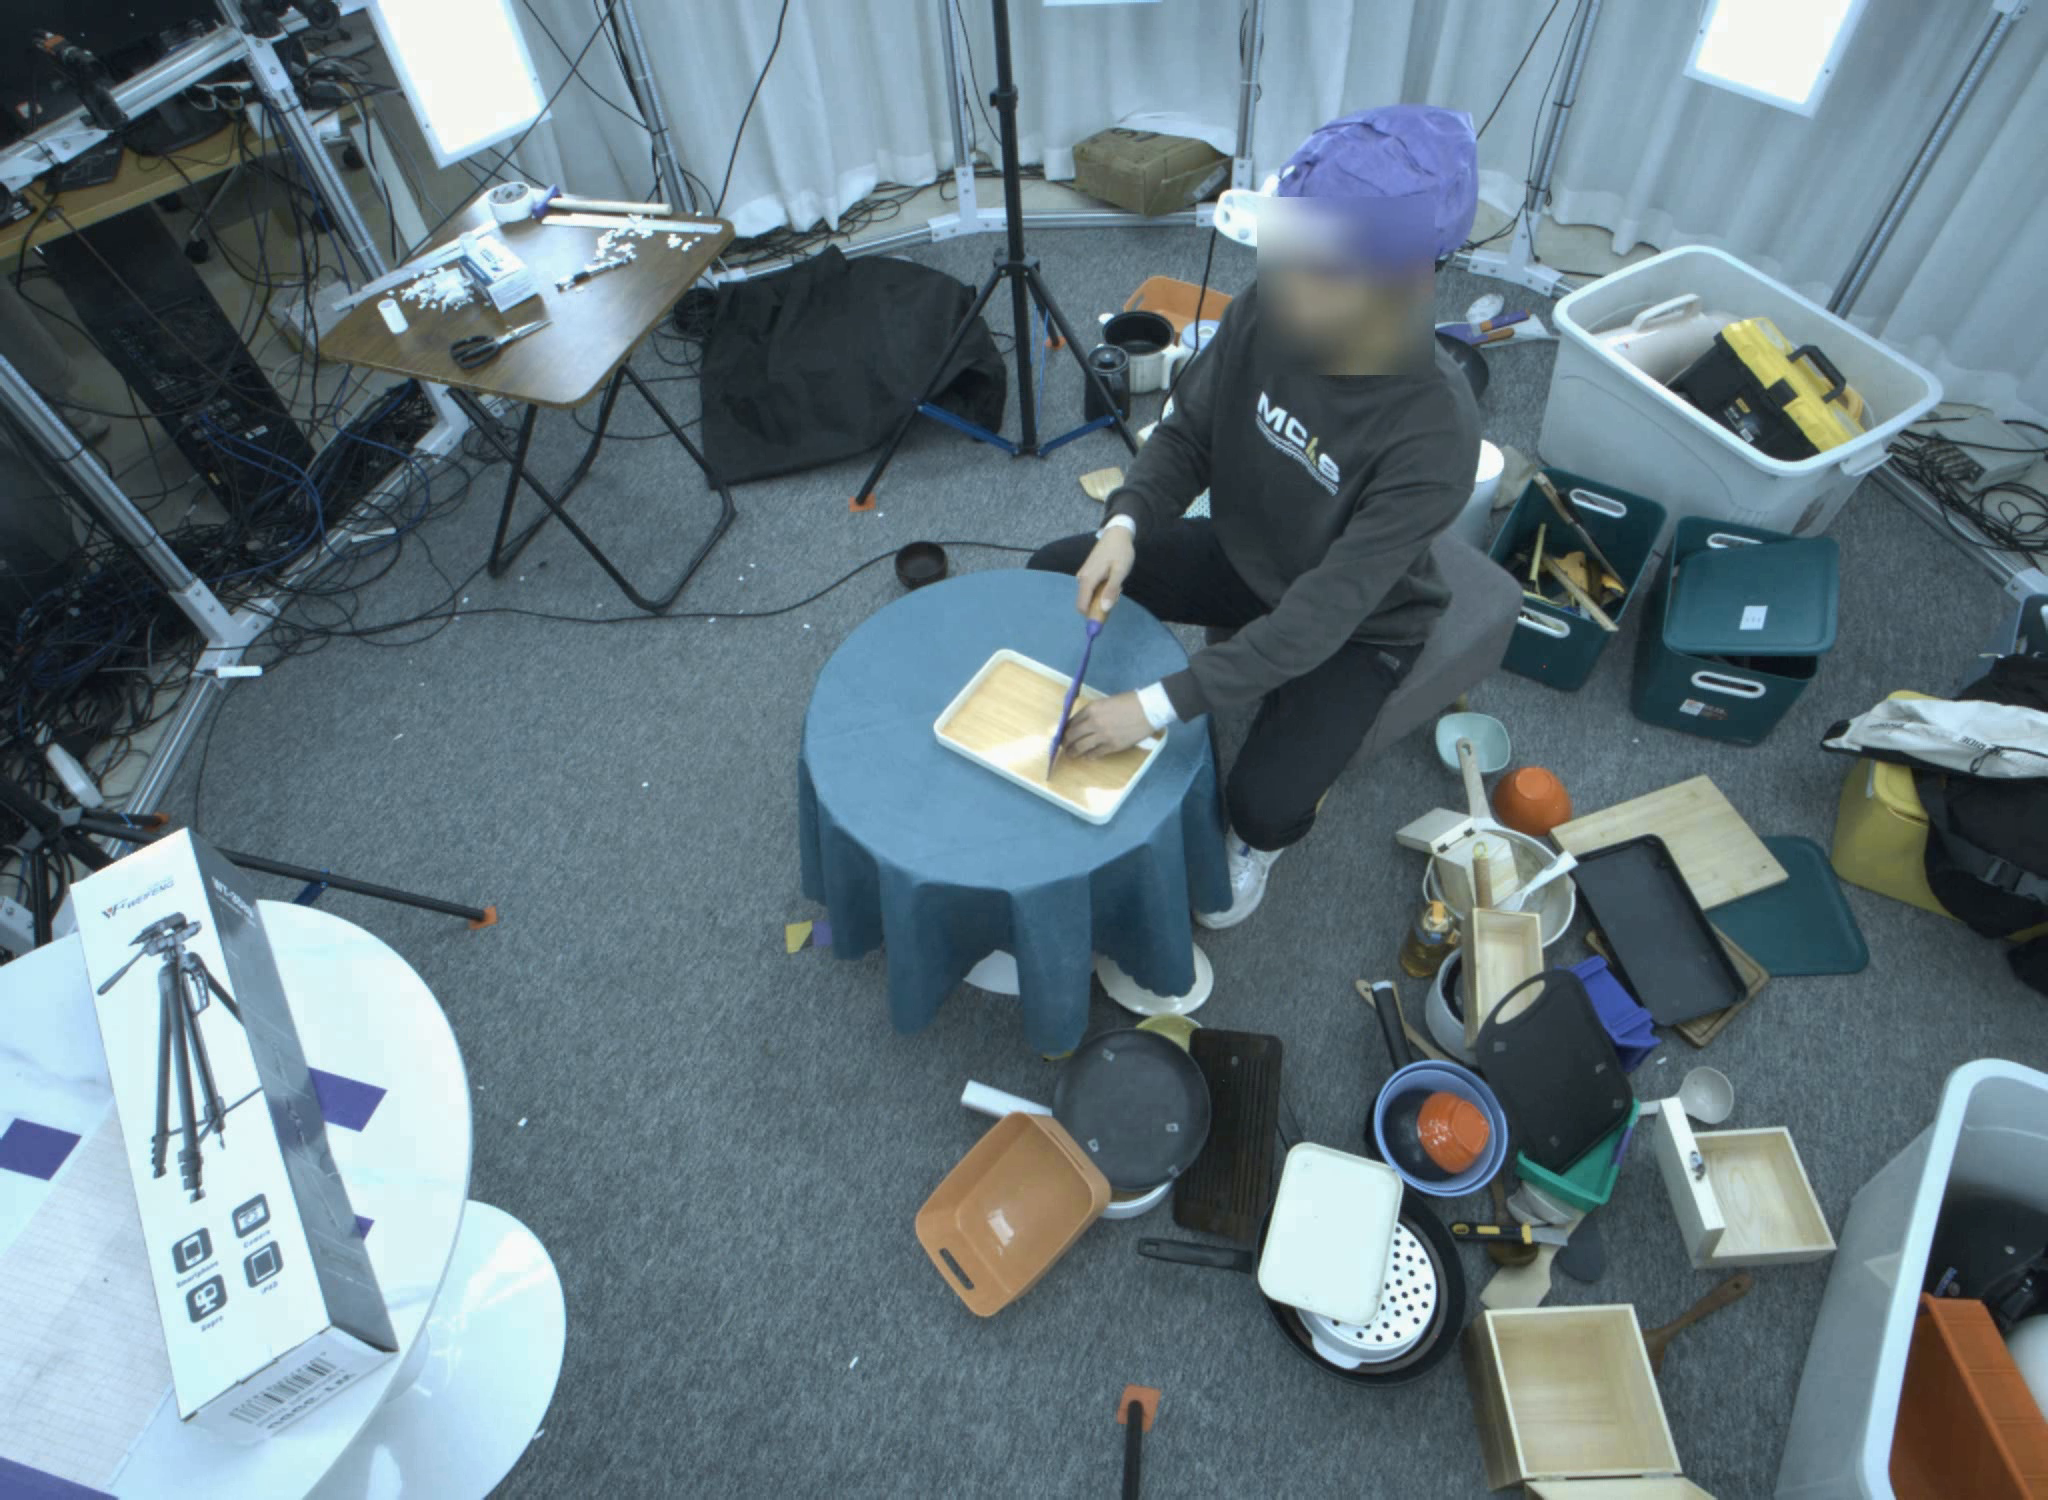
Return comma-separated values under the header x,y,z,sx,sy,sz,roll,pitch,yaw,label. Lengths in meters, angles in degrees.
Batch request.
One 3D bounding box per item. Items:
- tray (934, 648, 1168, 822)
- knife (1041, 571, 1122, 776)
x,y,z,sx,sy,sz,roll,pitch,yaw,label
0.039,-0.027,1.795,0.296,0.028,0.192,27,60,19,tray
0.078,-0.112,1.777,0.032,0.104,0.314,19,66,5,knife
